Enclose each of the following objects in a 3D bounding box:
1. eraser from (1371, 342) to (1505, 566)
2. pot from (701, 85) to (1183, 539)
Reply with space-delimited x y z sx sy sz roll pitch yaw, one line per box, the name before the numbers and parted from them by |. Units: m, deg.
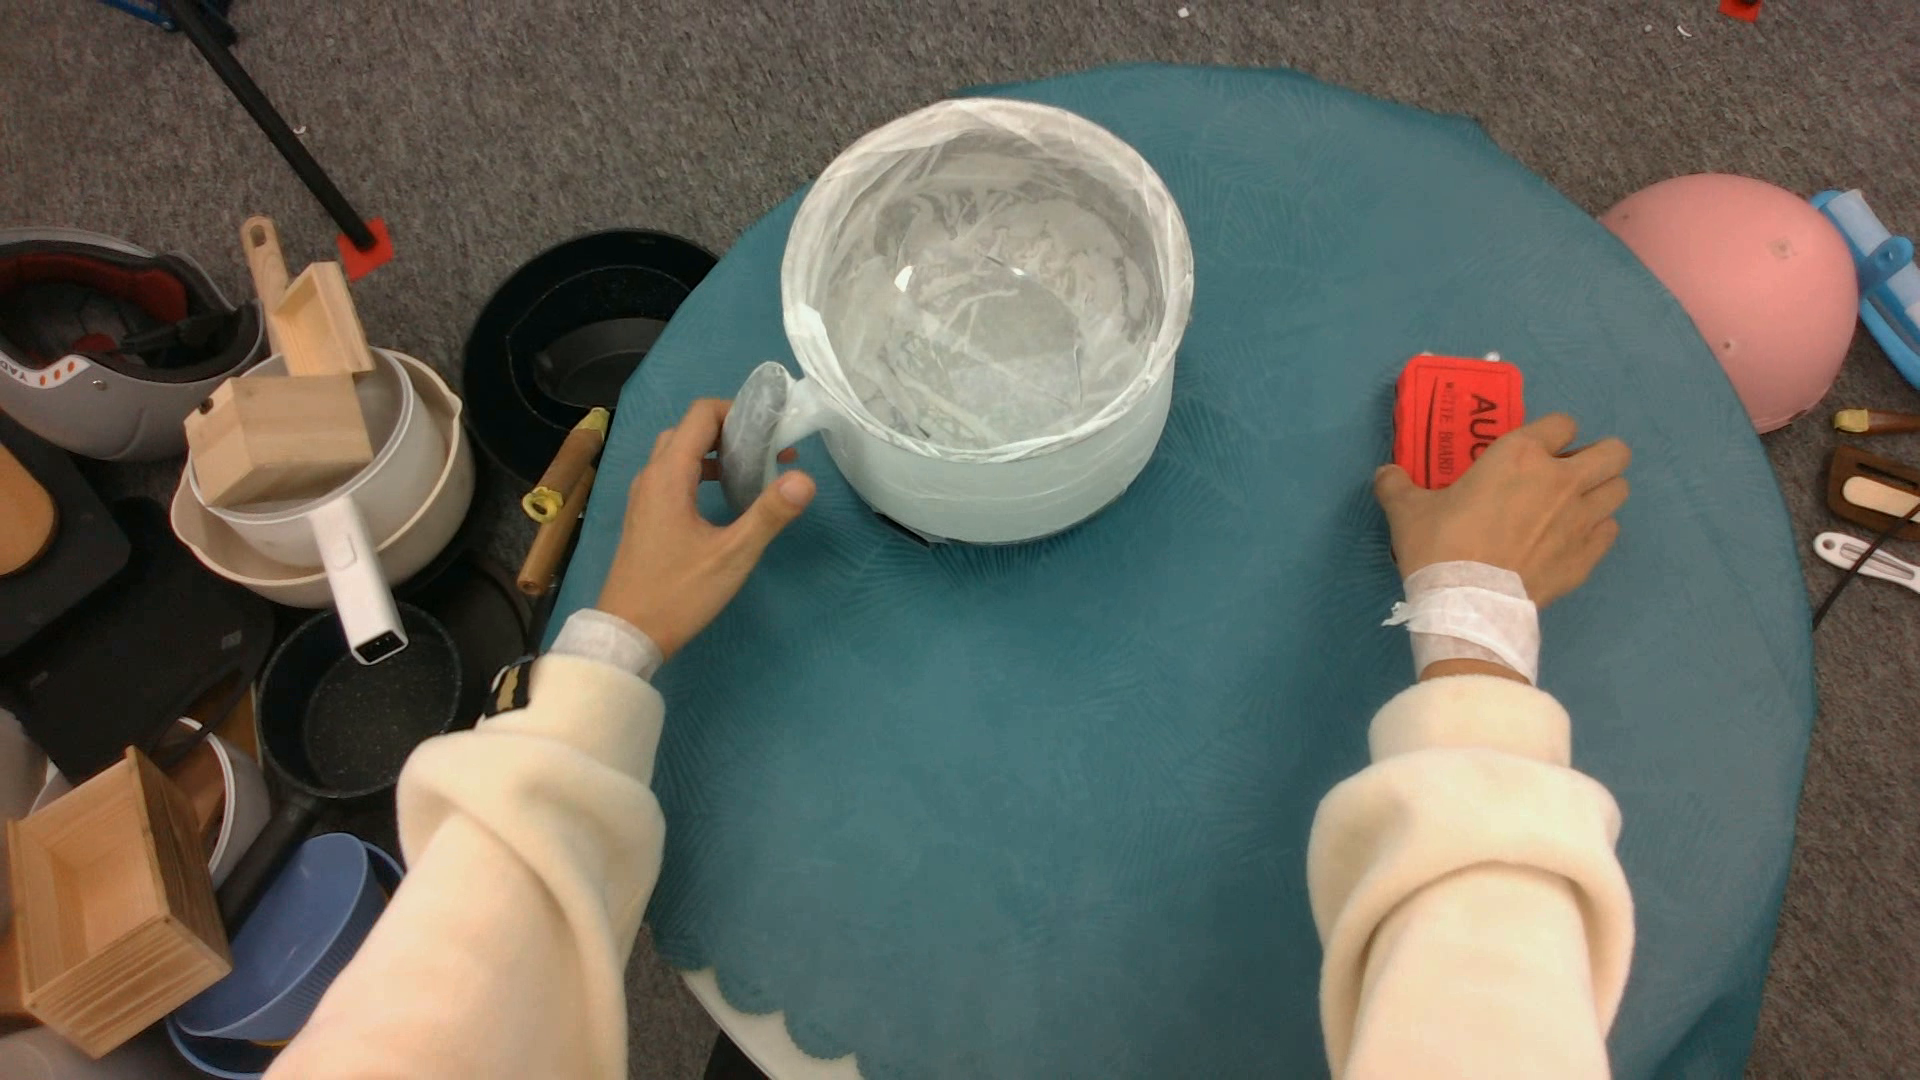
eraser | 0.235 -0.043 0.678 0.059 0.023 0.108 7 70 3
pot | -0.016 -0.086 0.640 0.234 0.136 0.179 -30 70 -10
